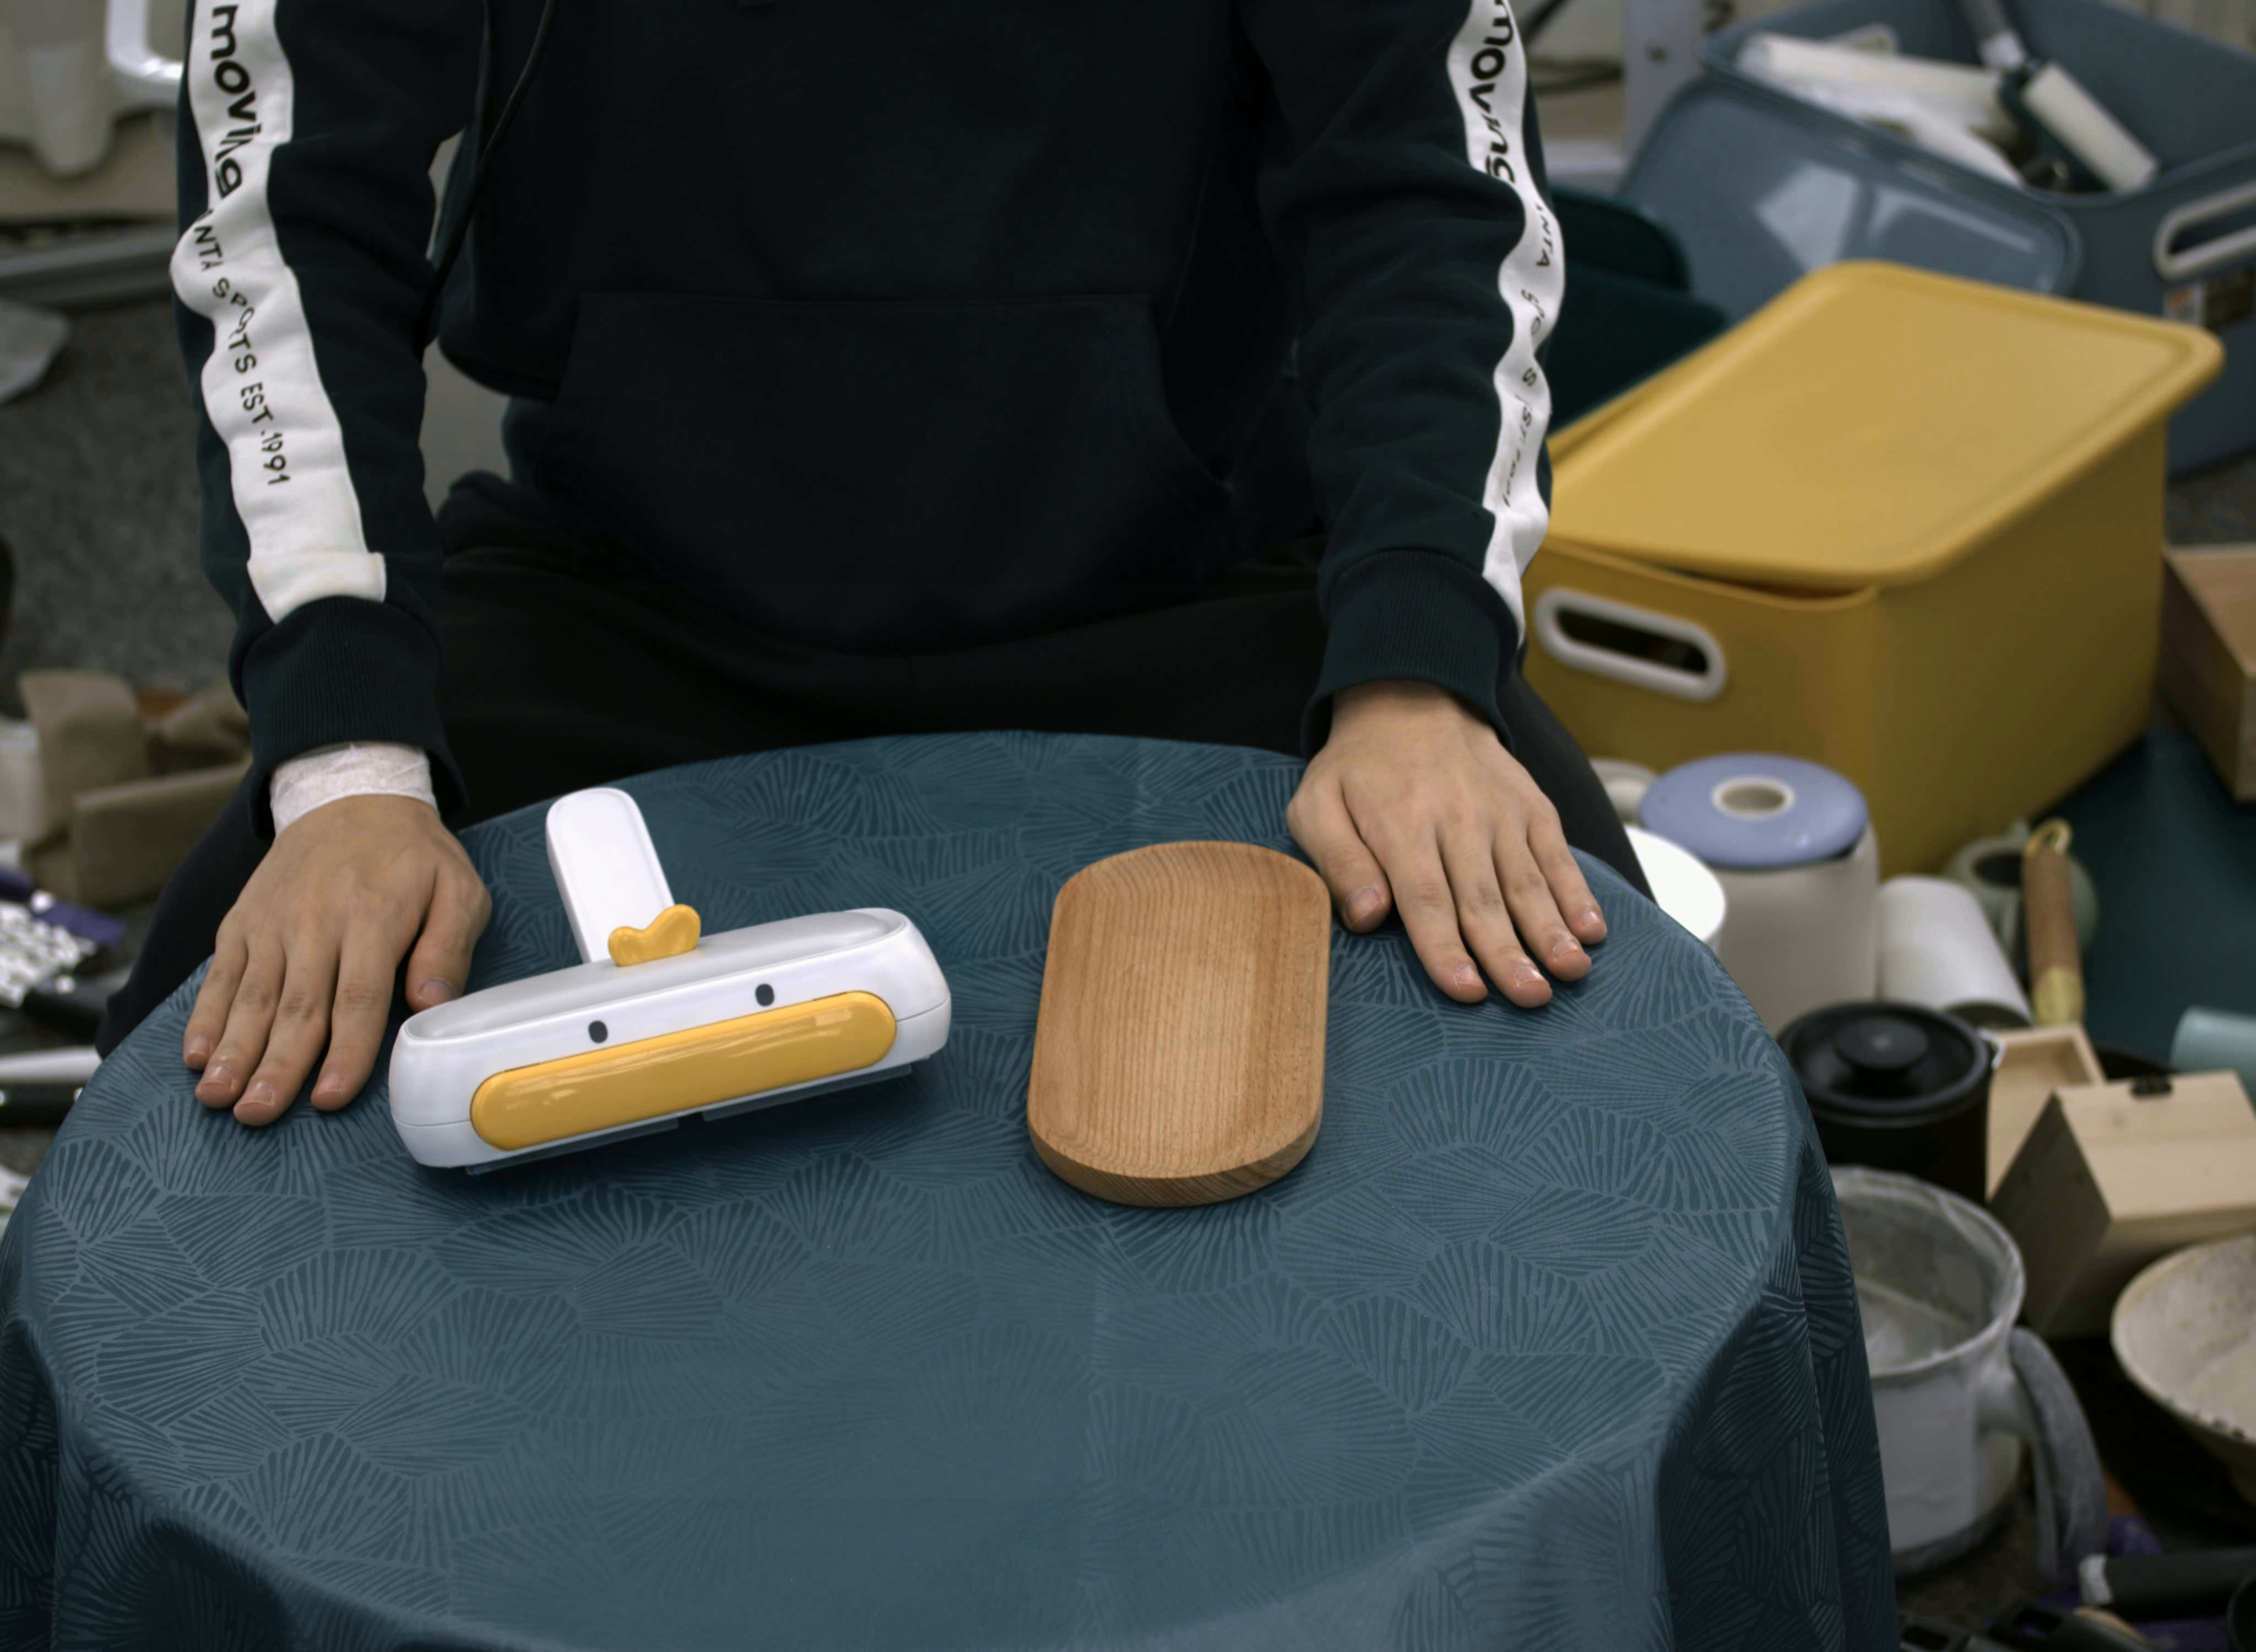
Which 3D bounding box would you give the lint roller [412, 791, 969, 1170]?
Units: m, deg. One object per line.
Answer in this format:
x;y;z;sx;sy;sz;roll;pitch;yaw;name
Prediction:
-0.167;0.045;1.953;0.193;0.073;0.193;-18;23;-12;lint roller

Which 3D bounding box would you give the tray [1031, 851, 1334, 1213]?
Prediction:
0.021;0.069;1.942;0.101;0.020;0.235;-2;29;3;tray
